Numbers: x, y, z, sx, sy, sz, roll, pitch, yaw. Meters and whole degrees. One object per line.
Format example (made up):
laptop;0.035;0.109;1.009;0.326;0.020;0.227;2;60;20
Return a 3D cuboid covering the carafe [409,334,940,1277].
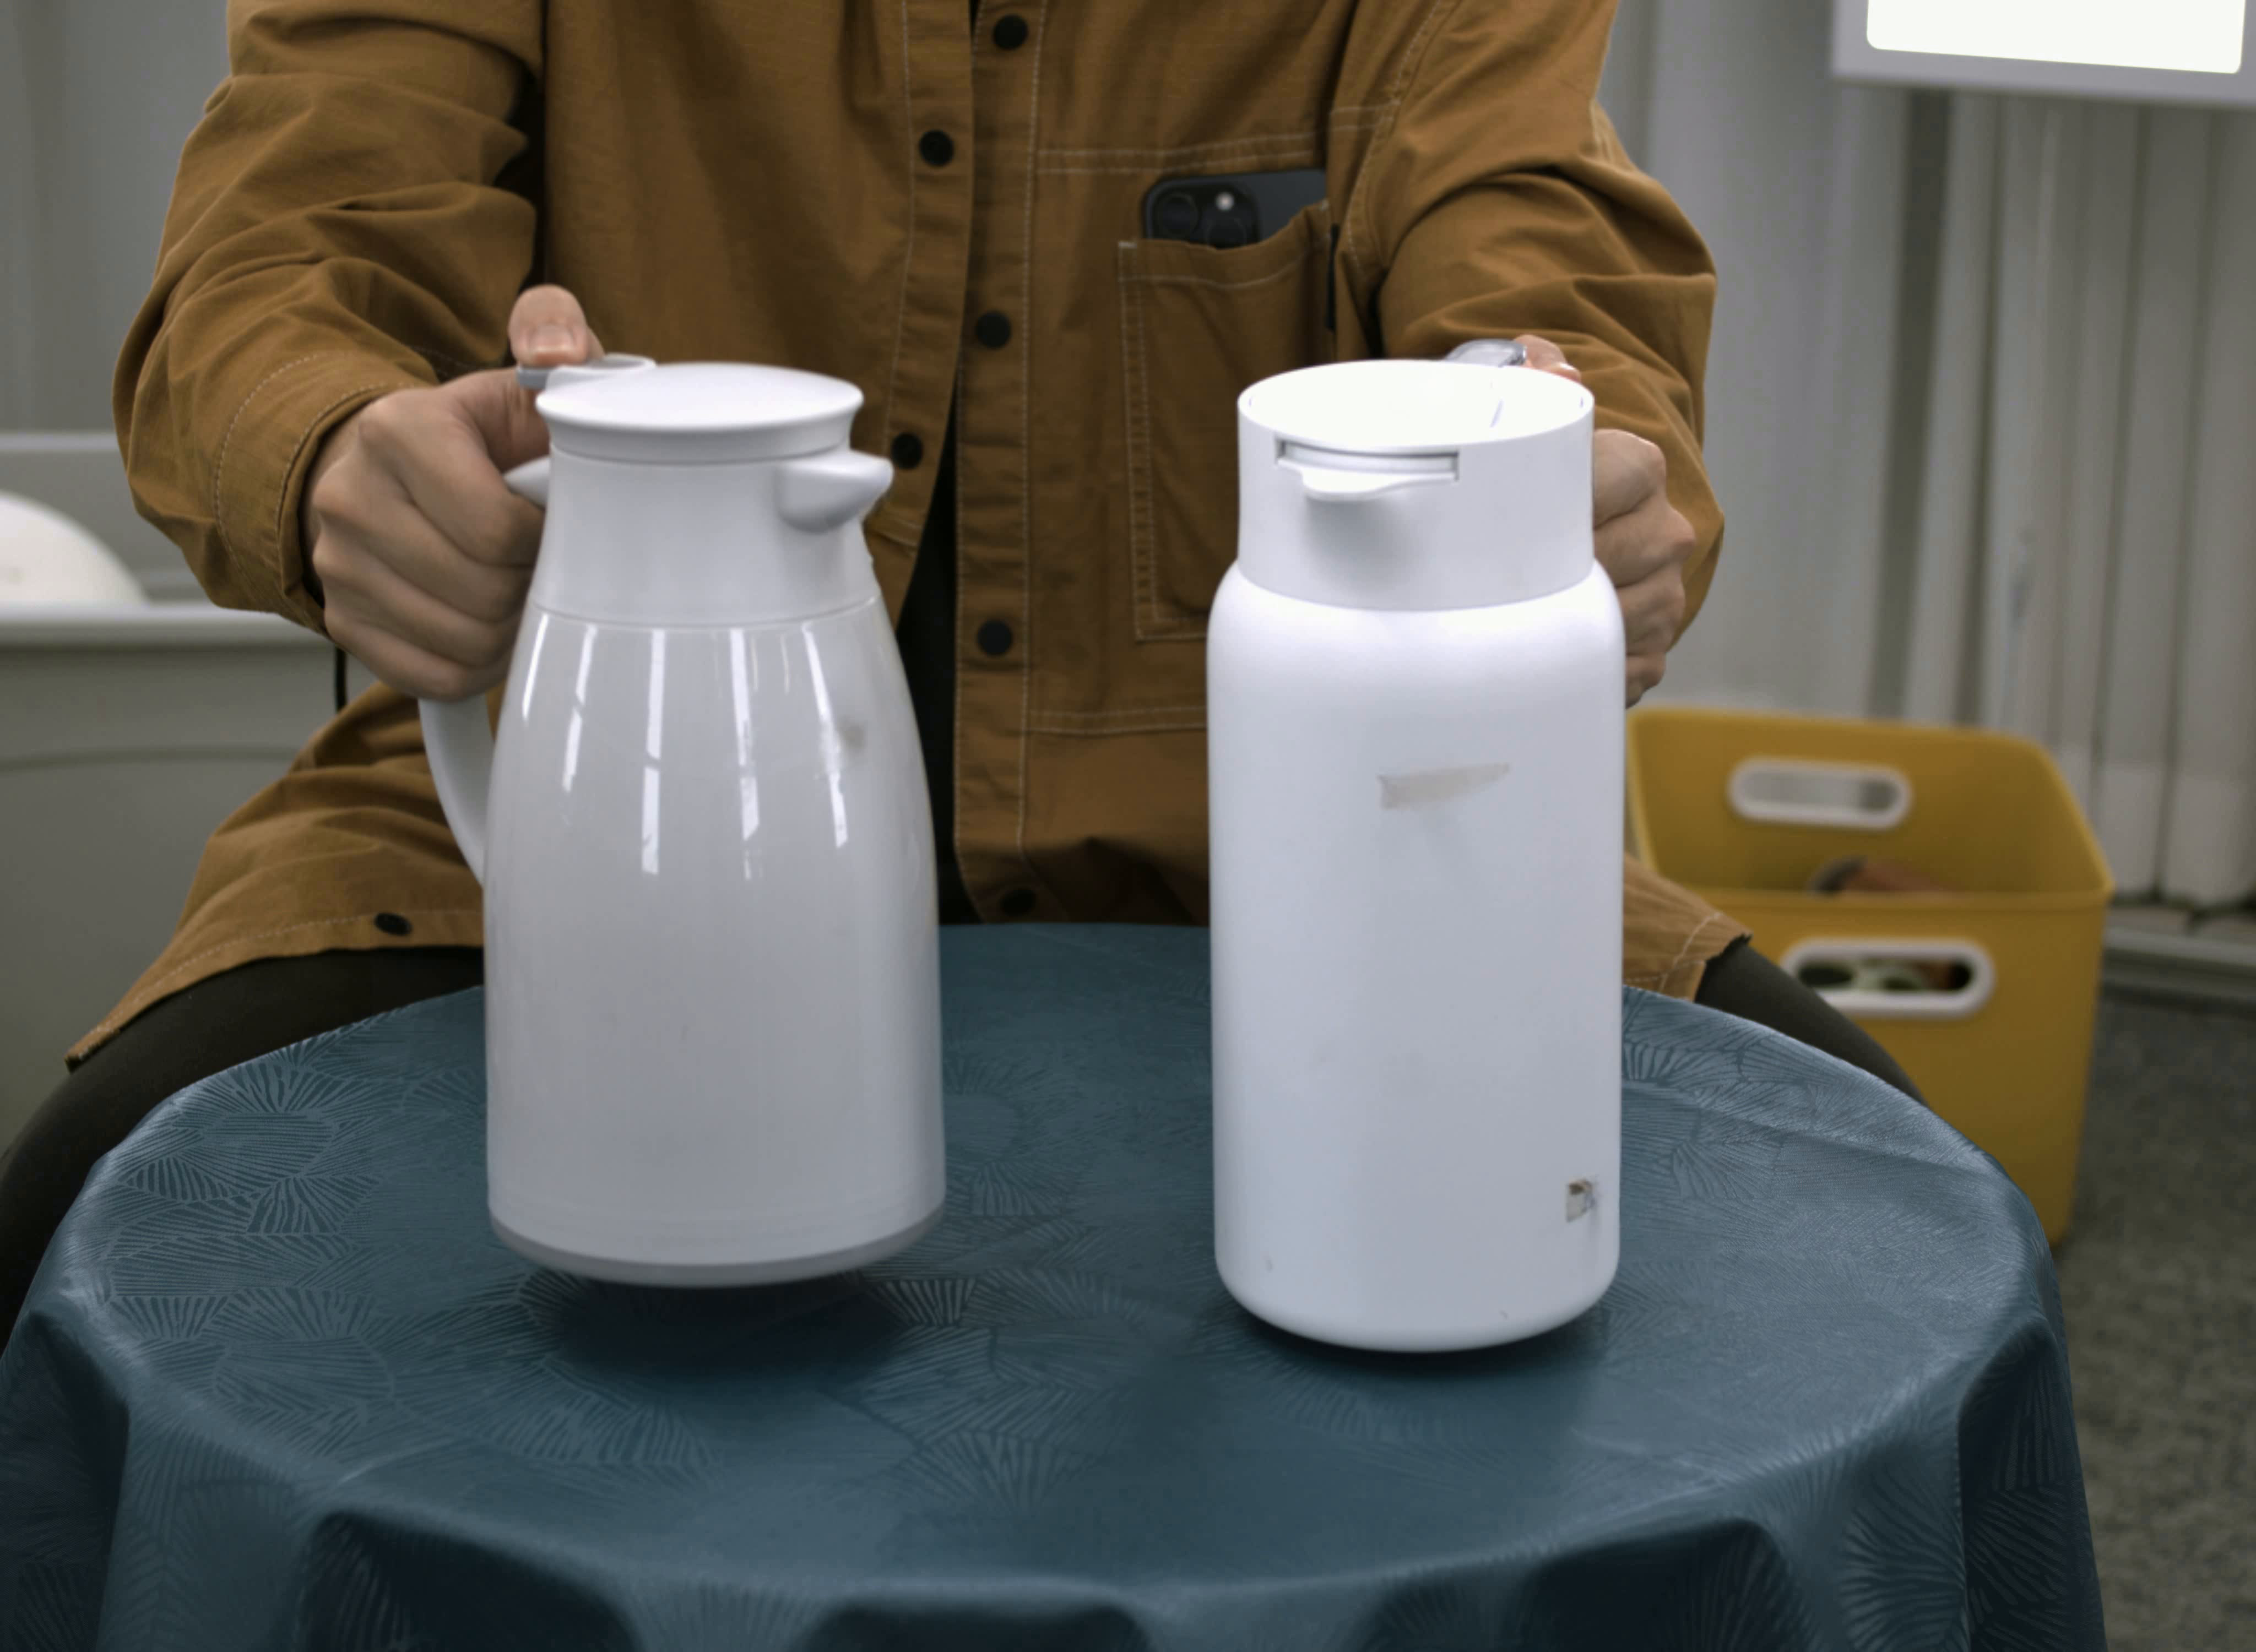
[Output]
carafe;-0.136;-0.013;1.492;0.165;0.250;0.133;9;17;33

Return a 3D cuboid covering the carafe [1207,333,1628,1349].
carafe;0.086;0.000;1.495;0.122;0.271;0.173;4;19;21
